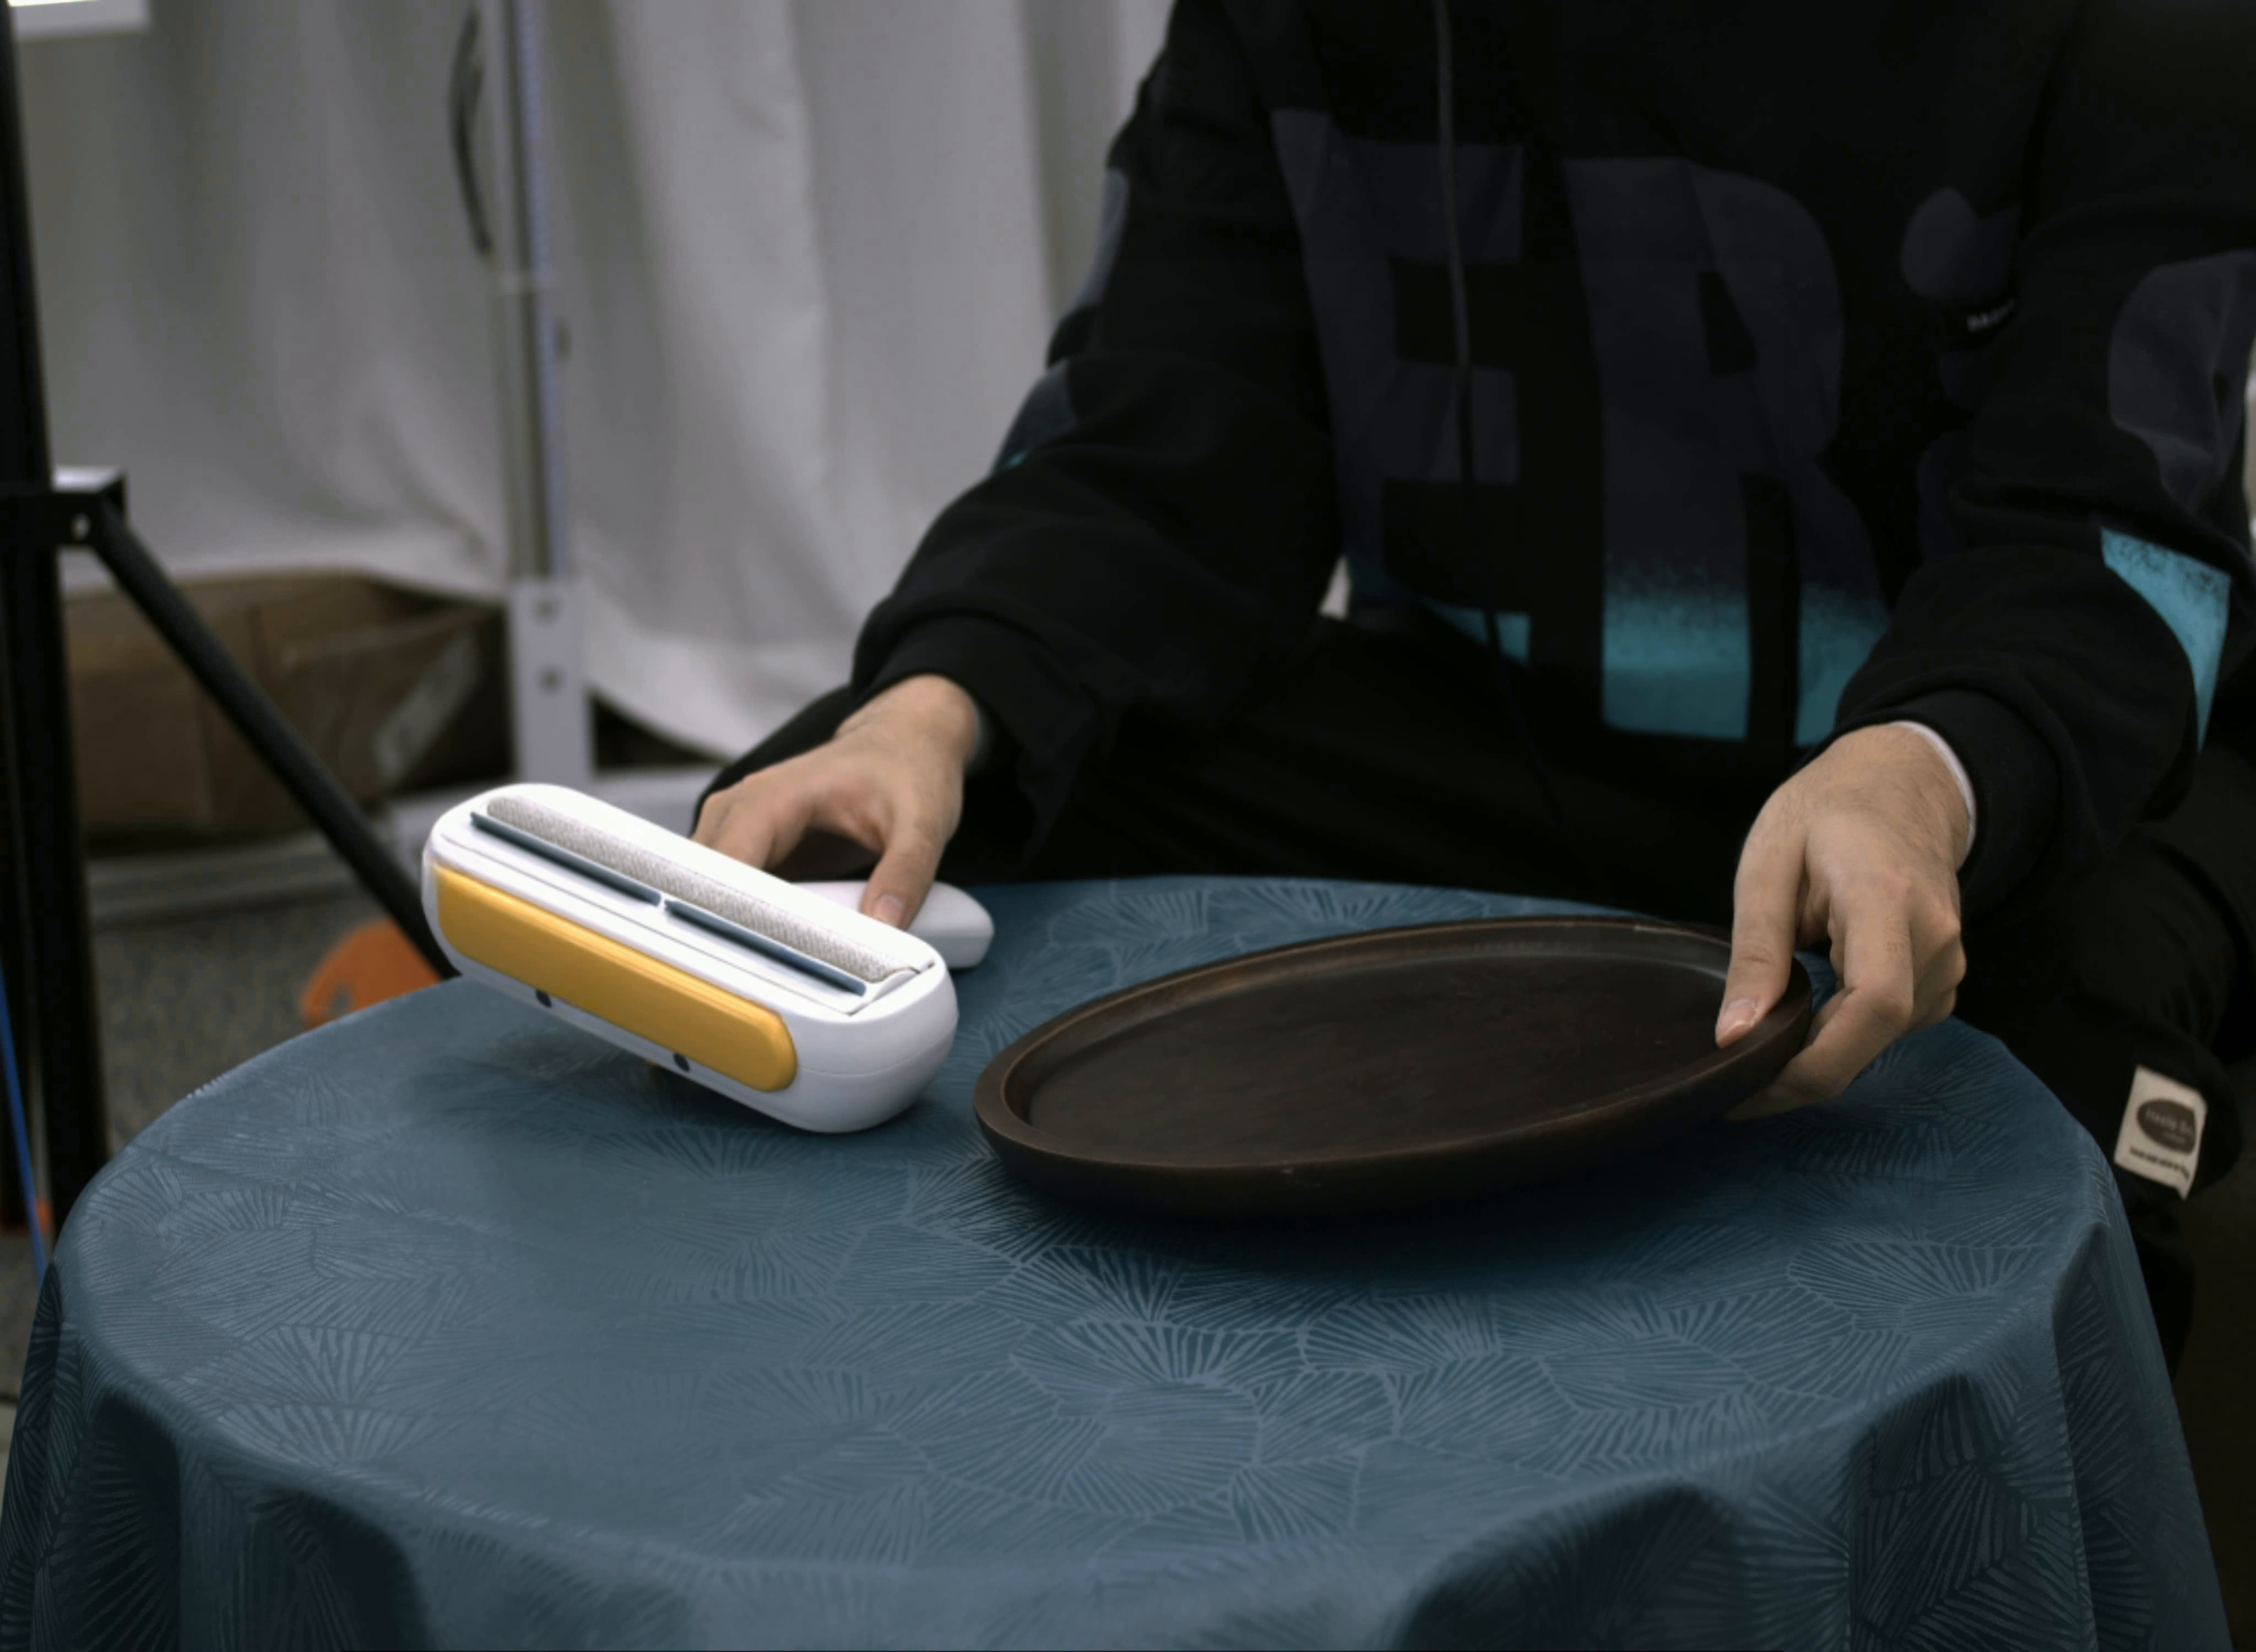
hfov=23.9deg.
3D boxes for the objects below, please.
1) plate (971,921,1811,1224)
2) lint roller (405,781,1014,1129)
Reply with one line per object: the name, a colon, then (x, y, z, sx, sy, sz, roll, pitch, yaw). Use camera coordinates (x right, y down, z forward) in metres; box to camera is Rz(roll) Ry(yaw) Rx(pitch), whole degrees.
plate: (0.079, 0.072, 1.581, 0.254, 0.029, 0.256, -8, 11, 0)
lint roller: (-0.108, 0.034, 1.716, 0.197, 0.074, 0.188, 19, 24, 37)
